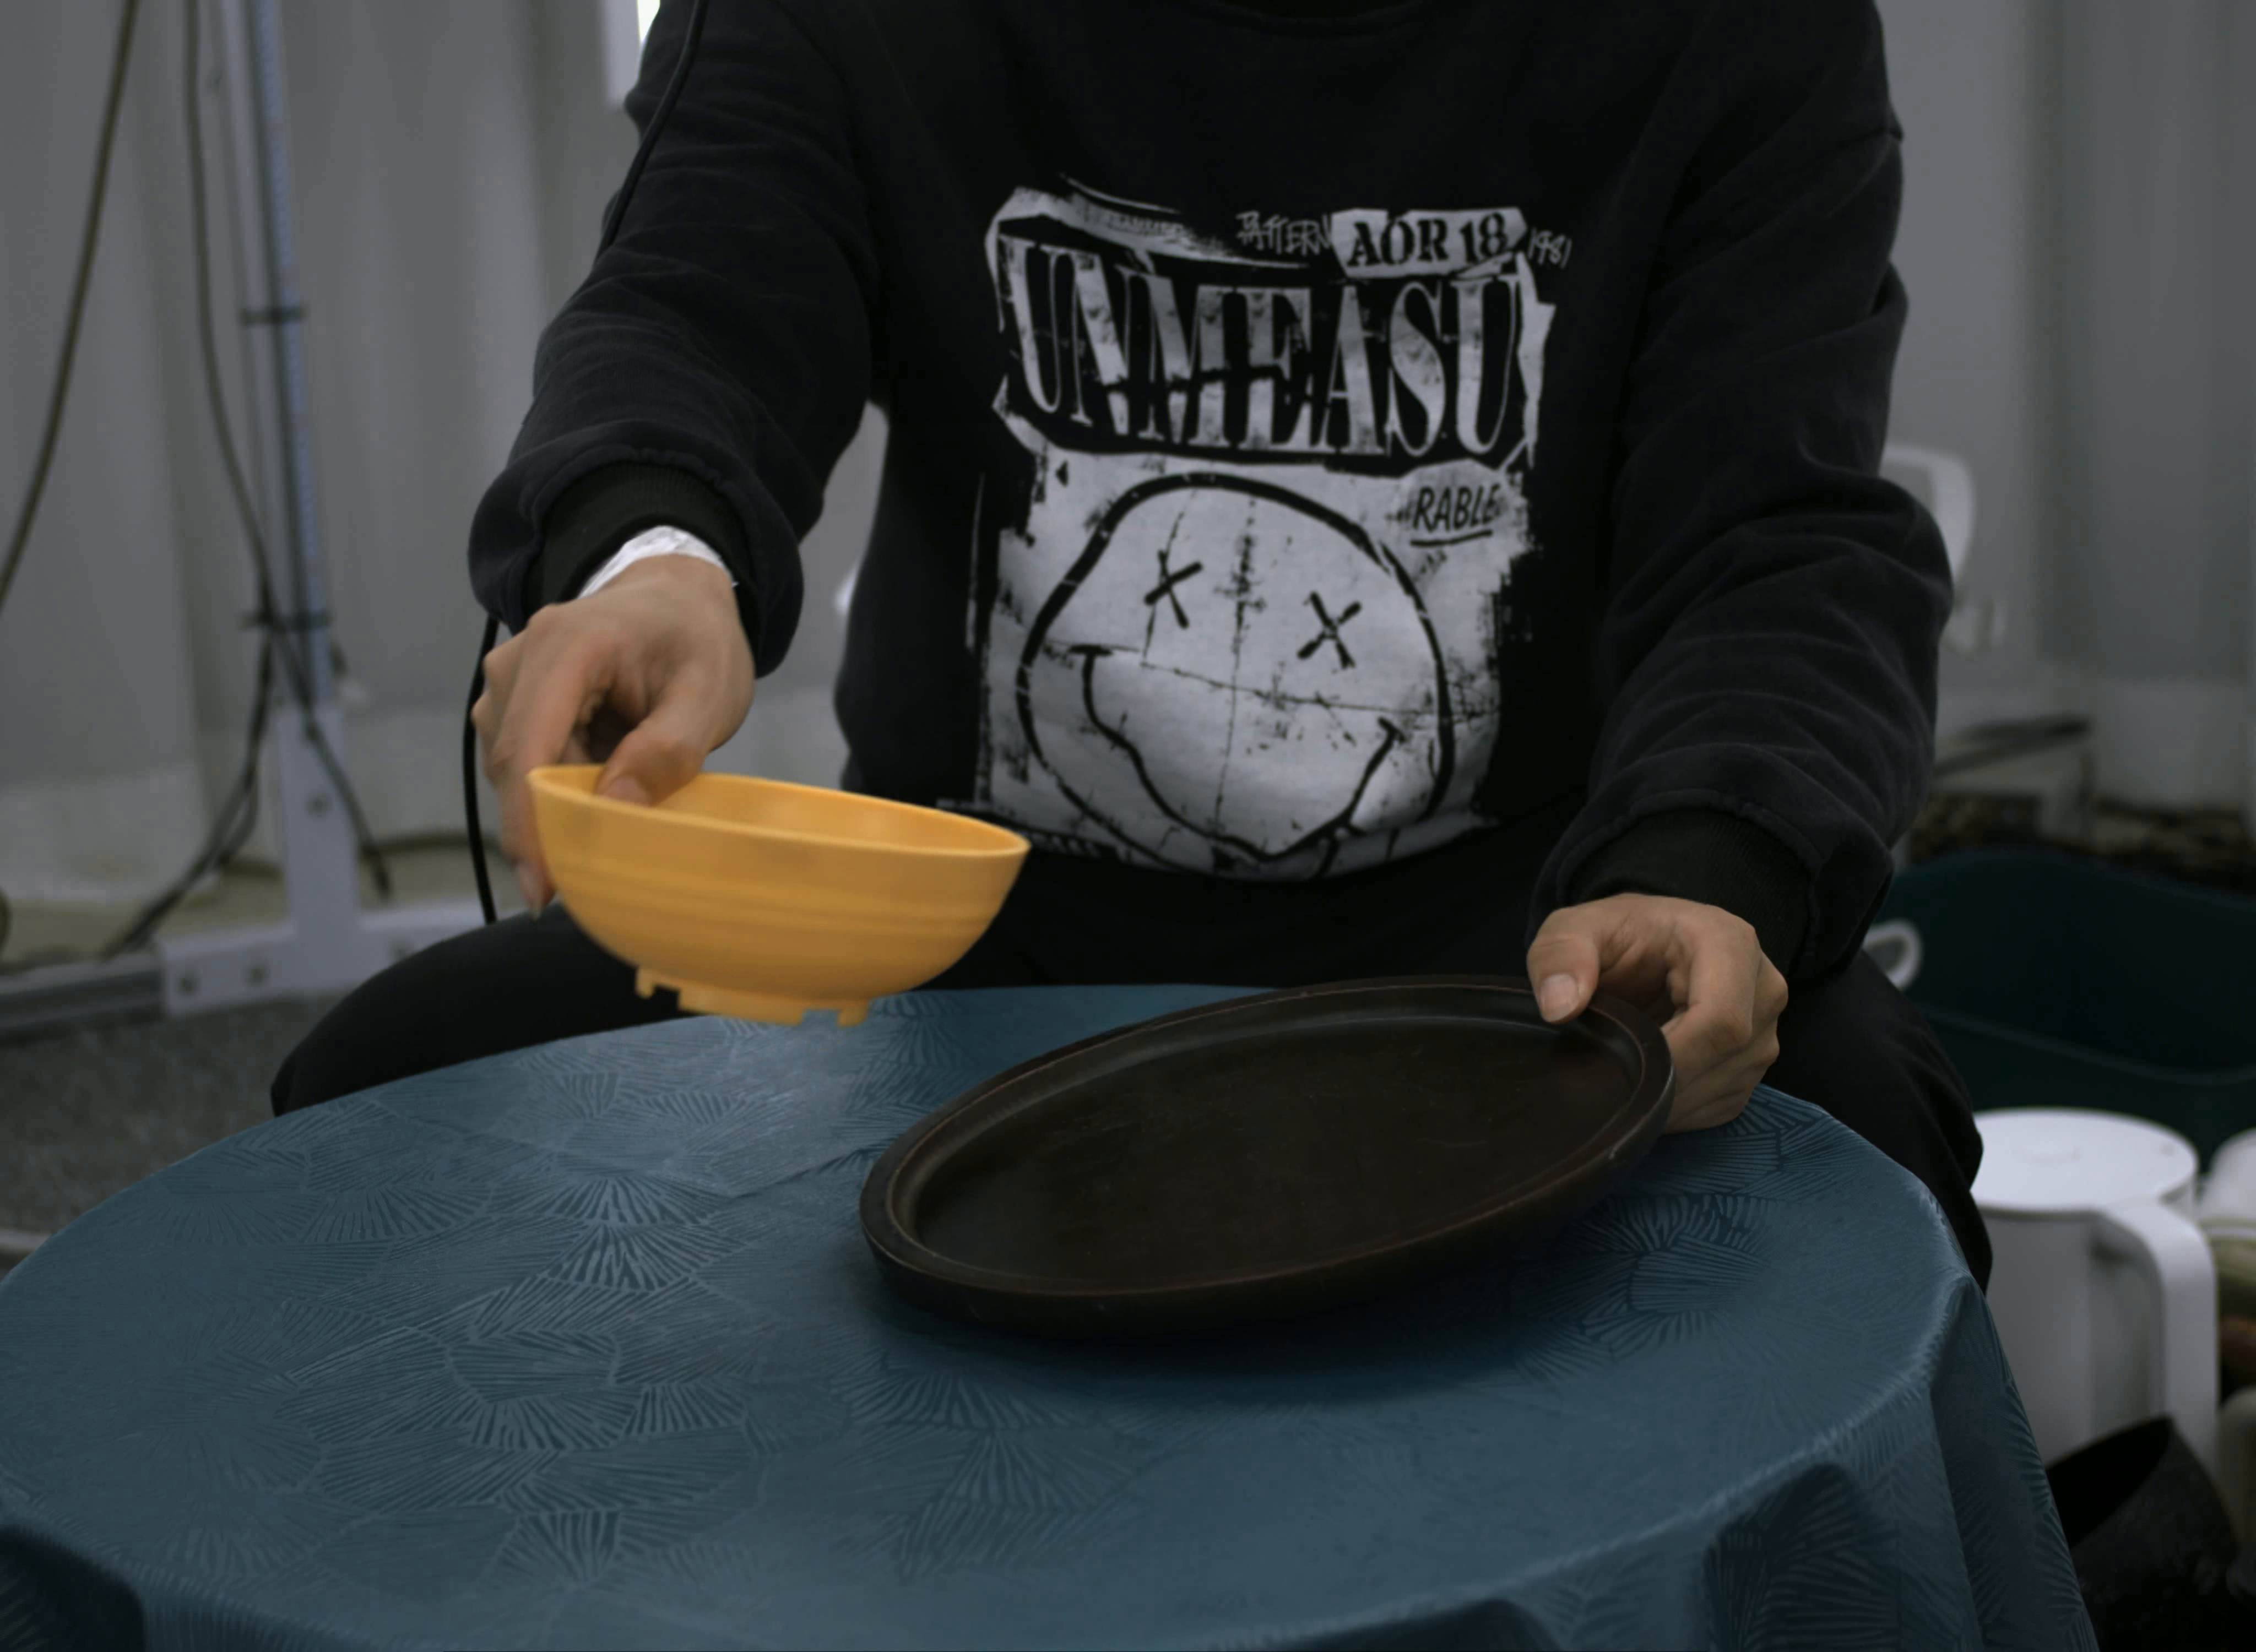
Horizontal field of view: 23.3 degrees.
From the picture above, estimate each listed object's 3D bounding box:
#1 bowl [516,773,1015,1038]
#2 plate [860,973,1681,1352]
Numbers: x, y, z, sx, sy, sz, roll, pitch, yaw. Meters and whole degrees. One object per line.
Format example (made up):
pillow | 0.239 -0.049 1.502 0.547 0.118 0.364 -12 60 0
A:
bowl | -0.108 0.026 1.561 0.145 0.060 0.145 9 2 -1
plate | 0.044 0.100 1.657 0.254 0.029 0.256 -12 15 3
